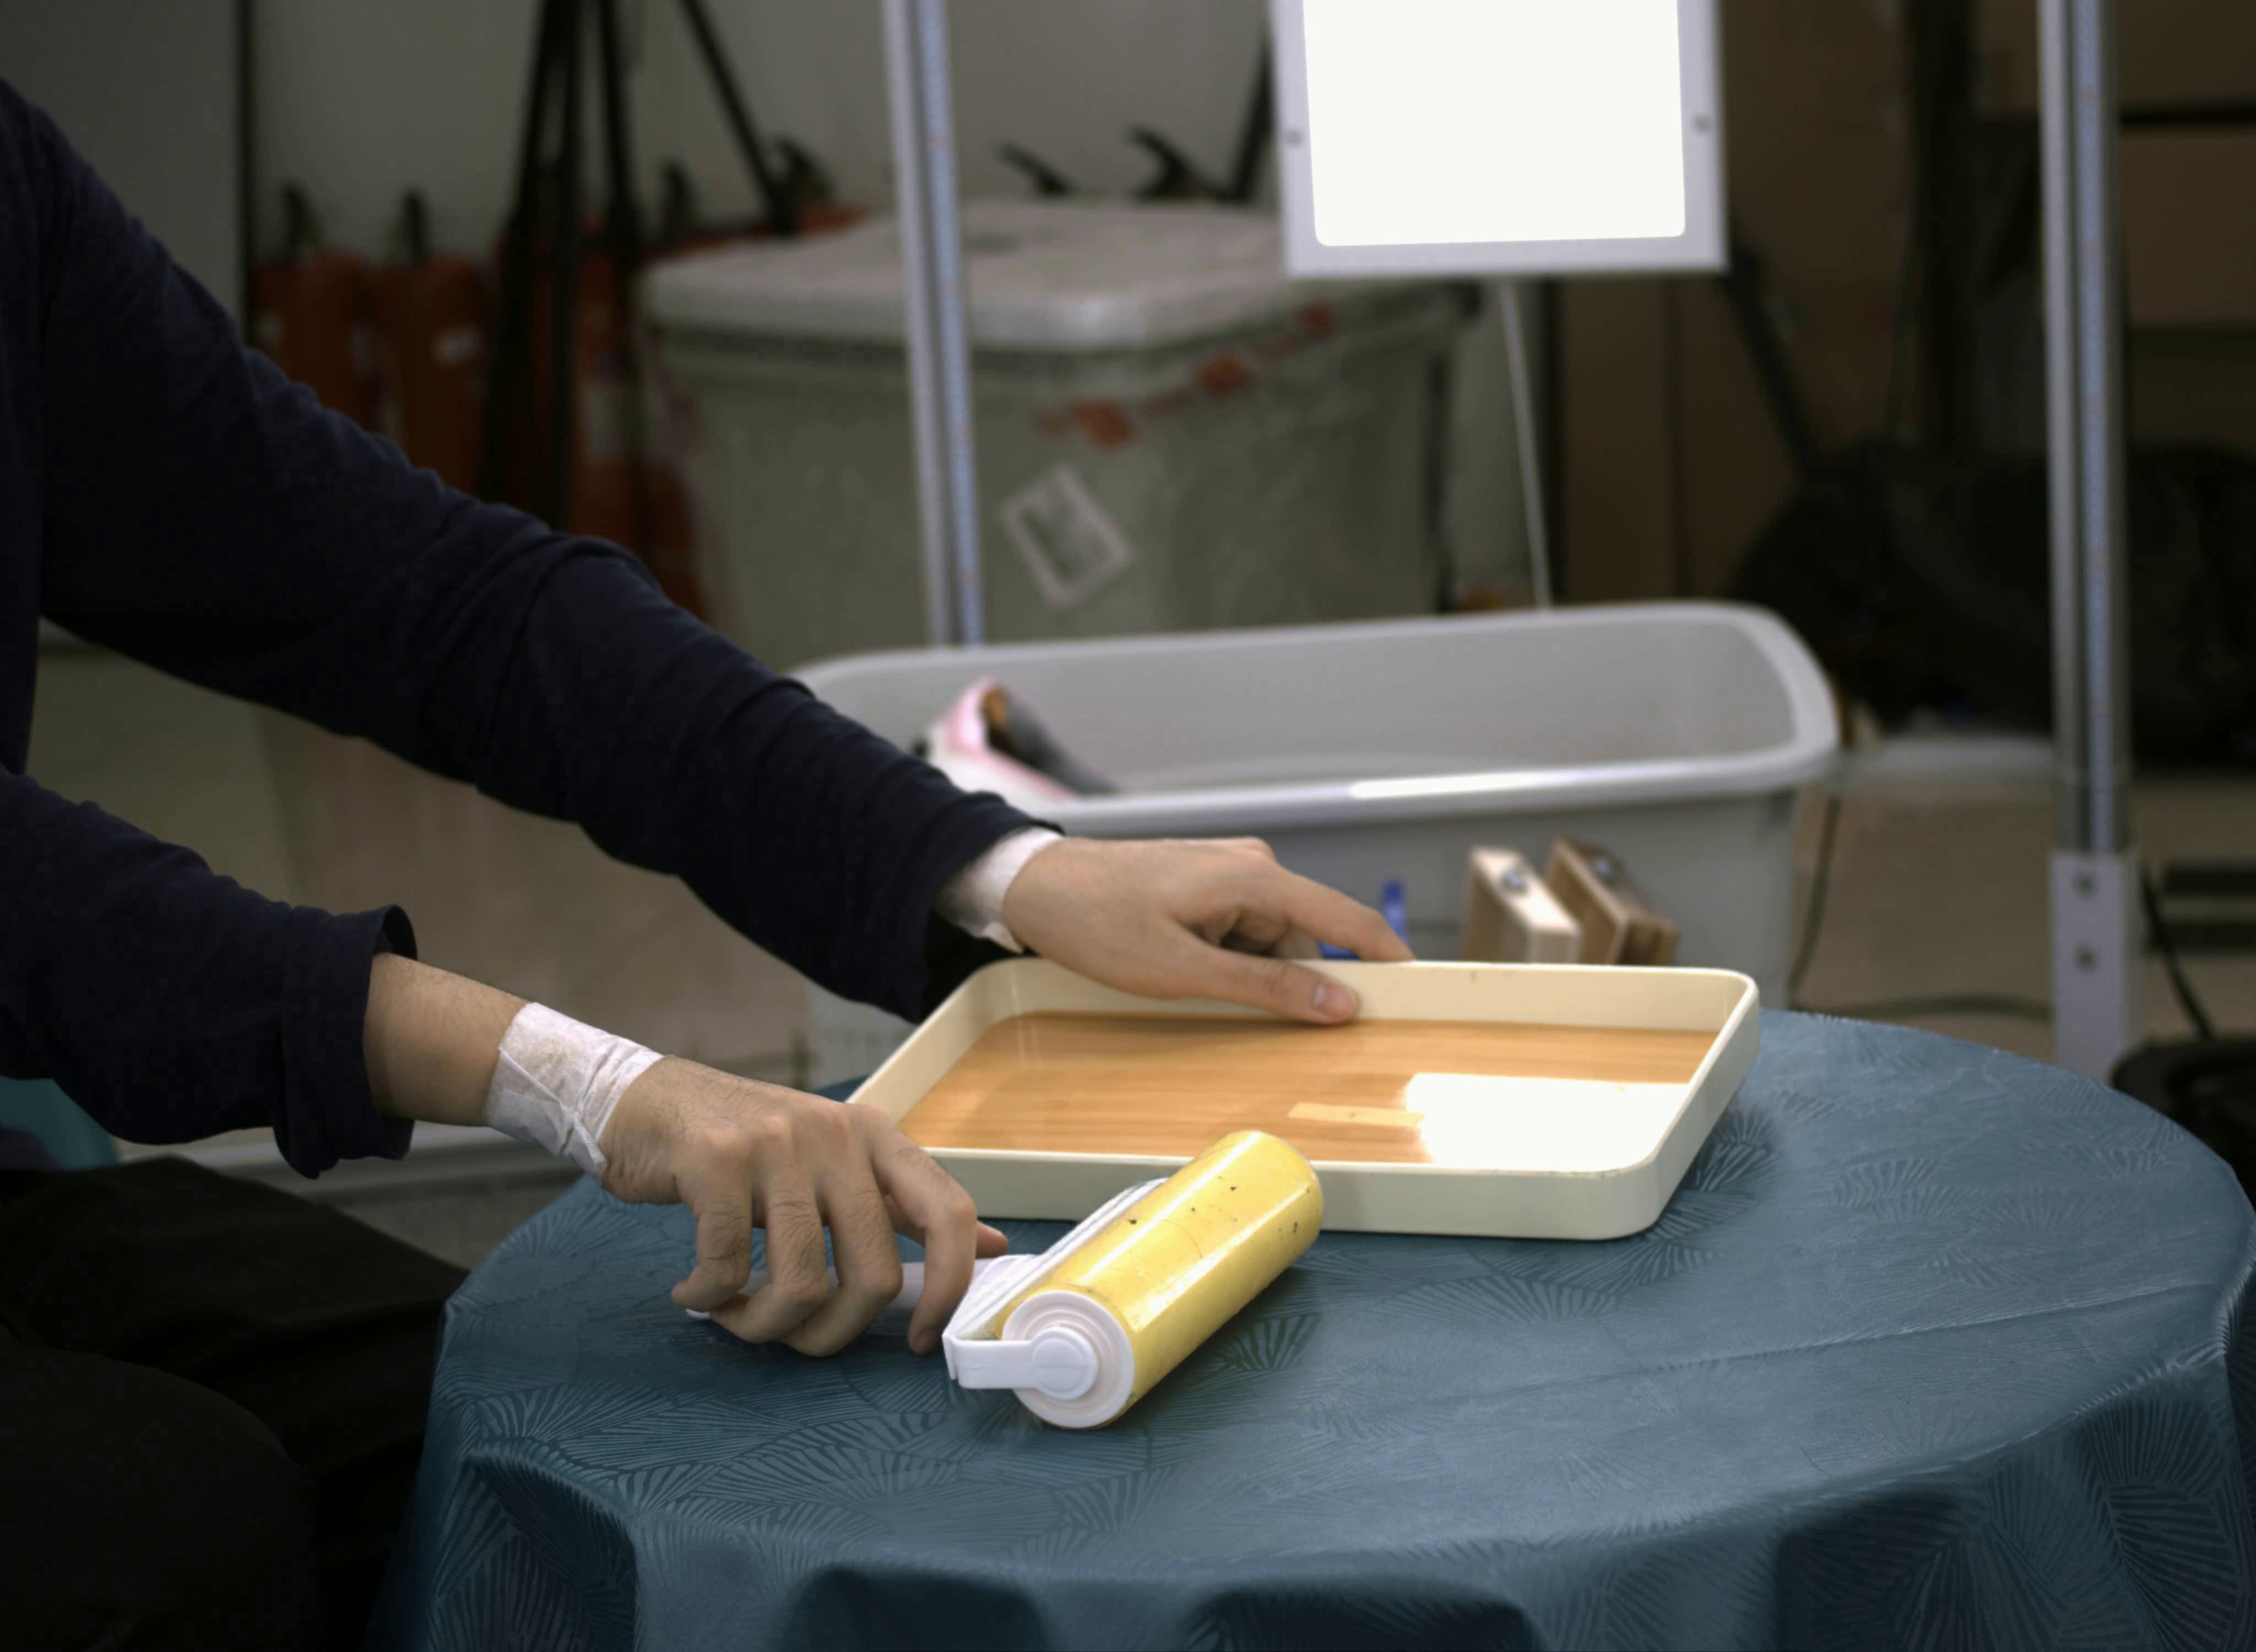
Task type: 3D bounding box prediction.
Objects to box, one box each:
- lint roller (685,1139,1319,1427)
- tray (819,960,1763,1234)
[{"bbox_3d":[-0.054,0.139,1.765,0.195,0.051,0.171,4,15,22],"label":"lint roller"},{"bbox_3d":[0.060,0.093,1.932,0.304,0.027,0.188,0,19,22],"label":"tray"}]
